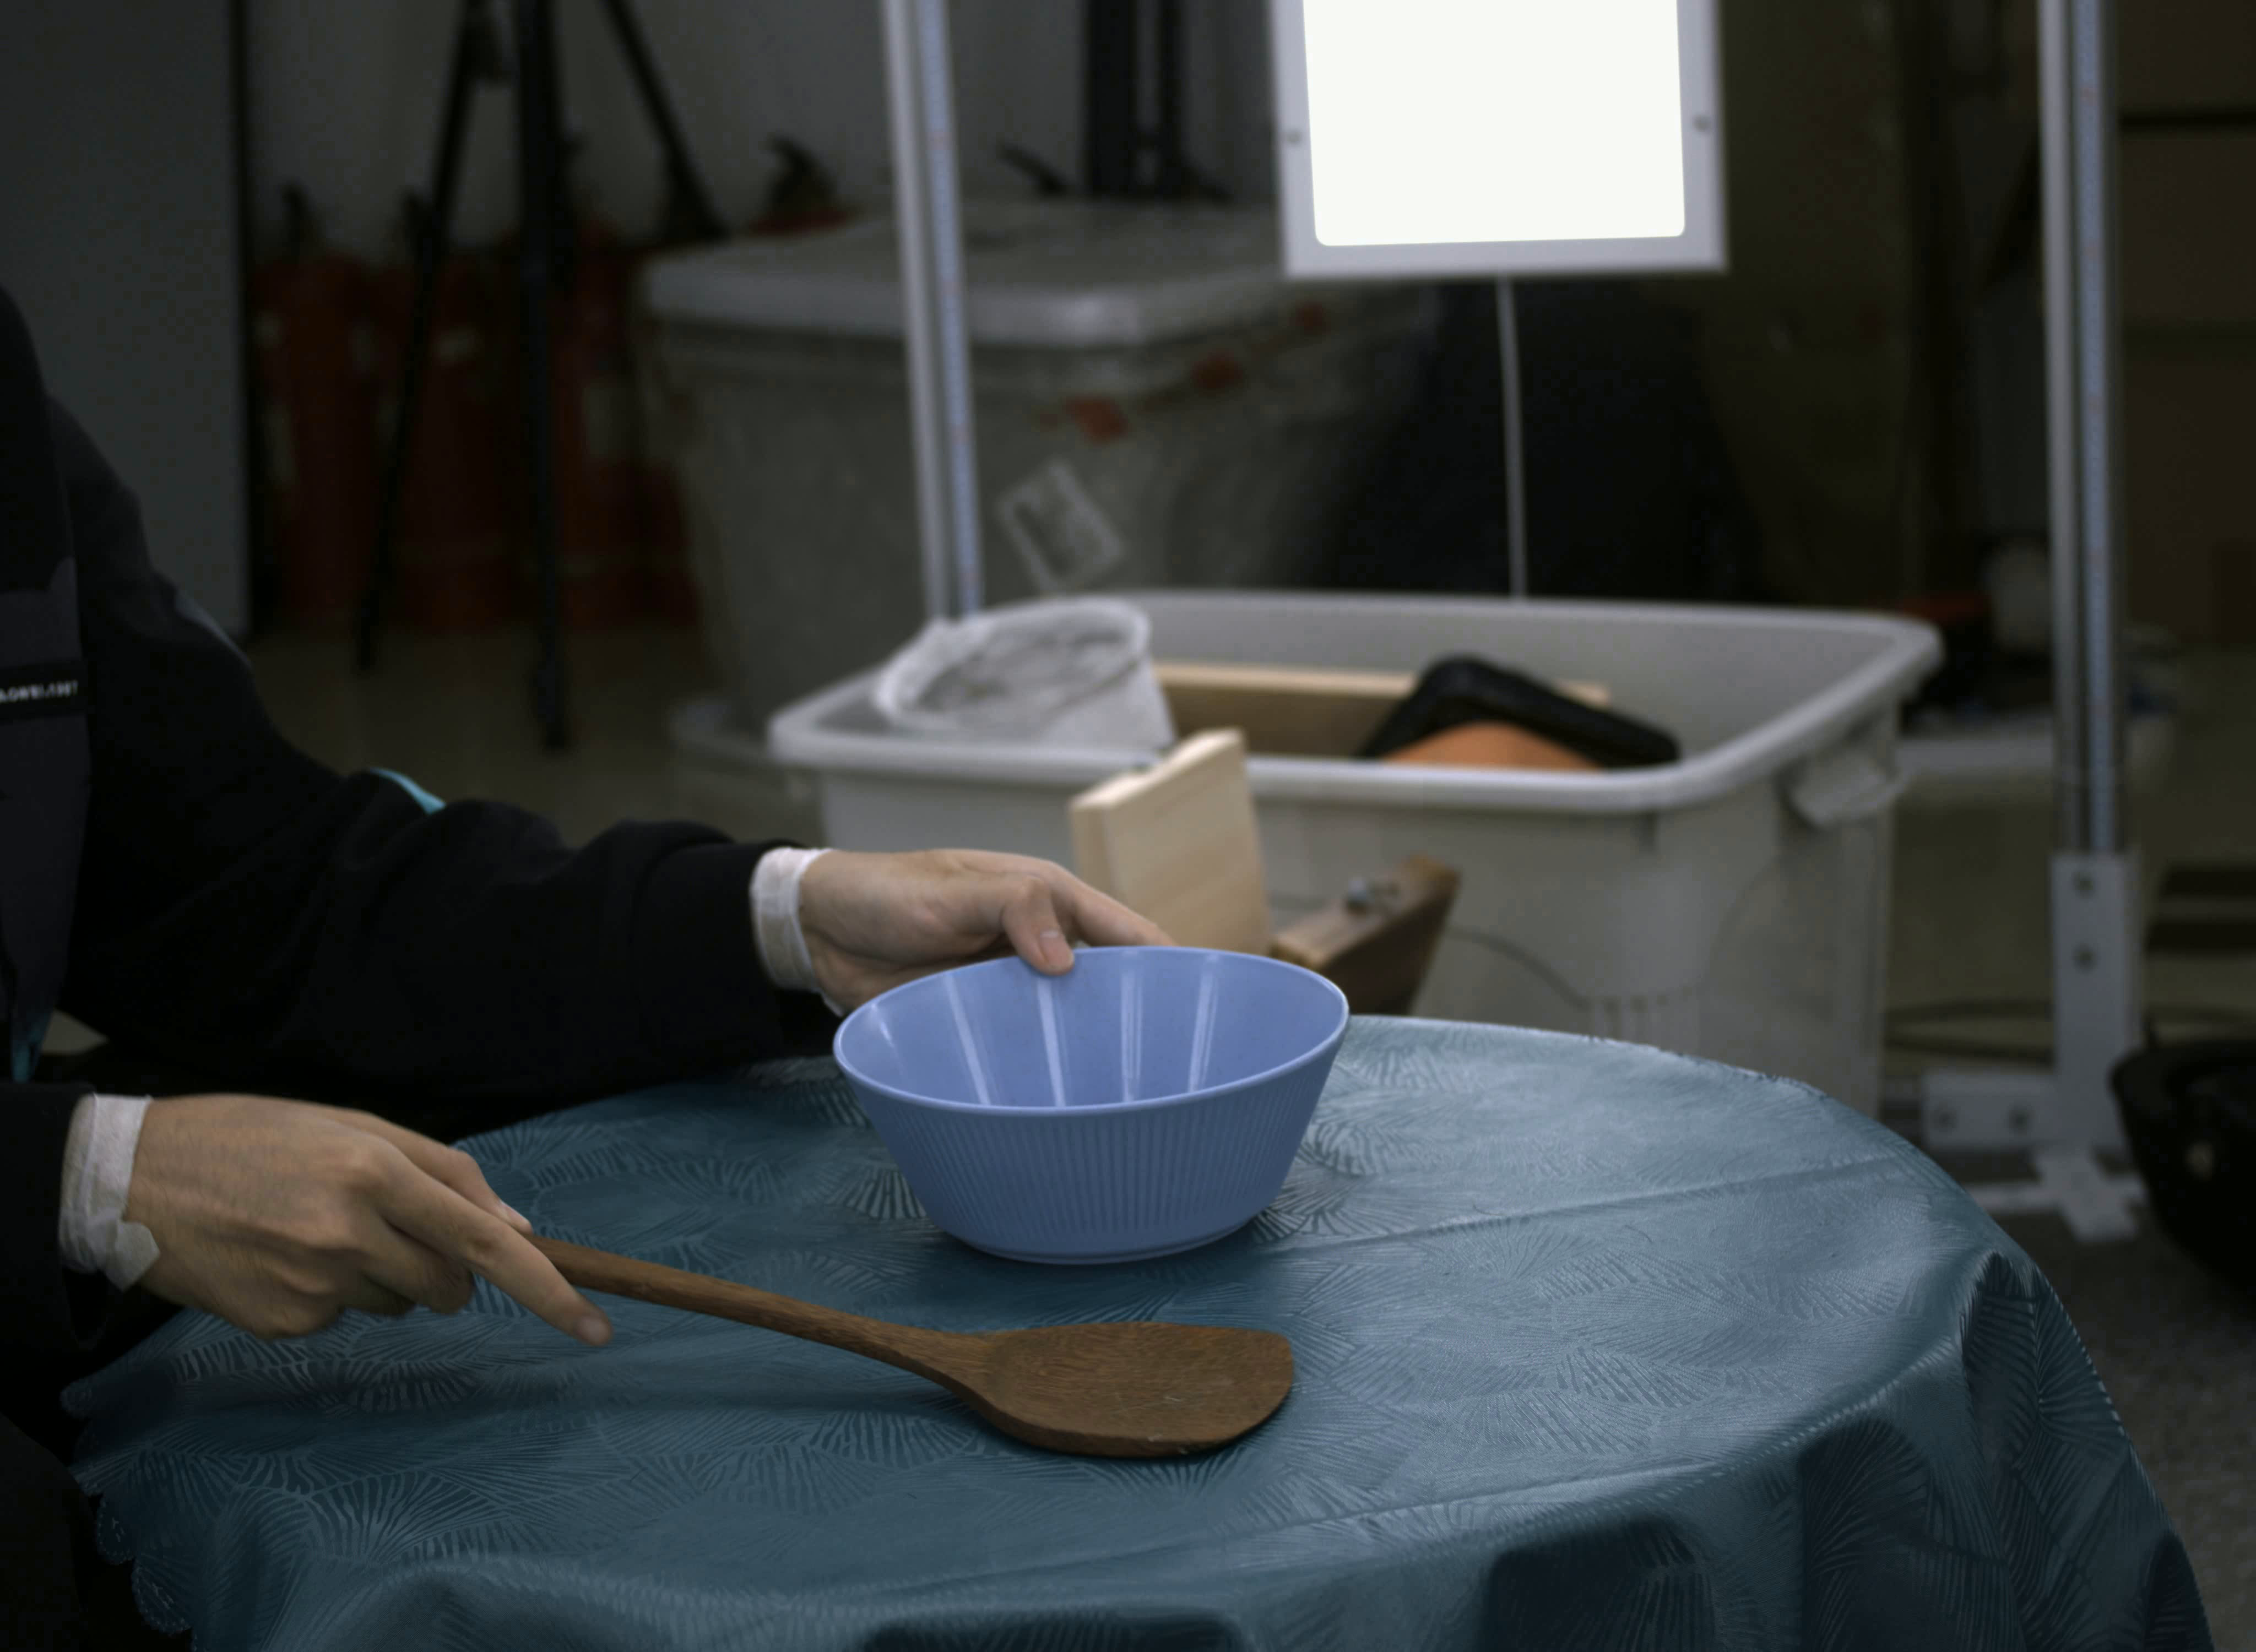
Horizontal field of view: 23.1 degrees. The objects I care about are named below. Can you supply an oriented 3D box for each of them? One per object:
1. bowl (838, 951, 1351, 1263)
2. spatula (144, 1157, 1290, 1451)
[{"bbox_3d":[-0.009,0.098,1.864,0.175,0.070,0.176,-6,14,0],"label":"bowl"},{"bbox_3d":[-0.136,0.145,1.732,0.390,0.016,0.094,11,18,18],"label":"spatula"}]
